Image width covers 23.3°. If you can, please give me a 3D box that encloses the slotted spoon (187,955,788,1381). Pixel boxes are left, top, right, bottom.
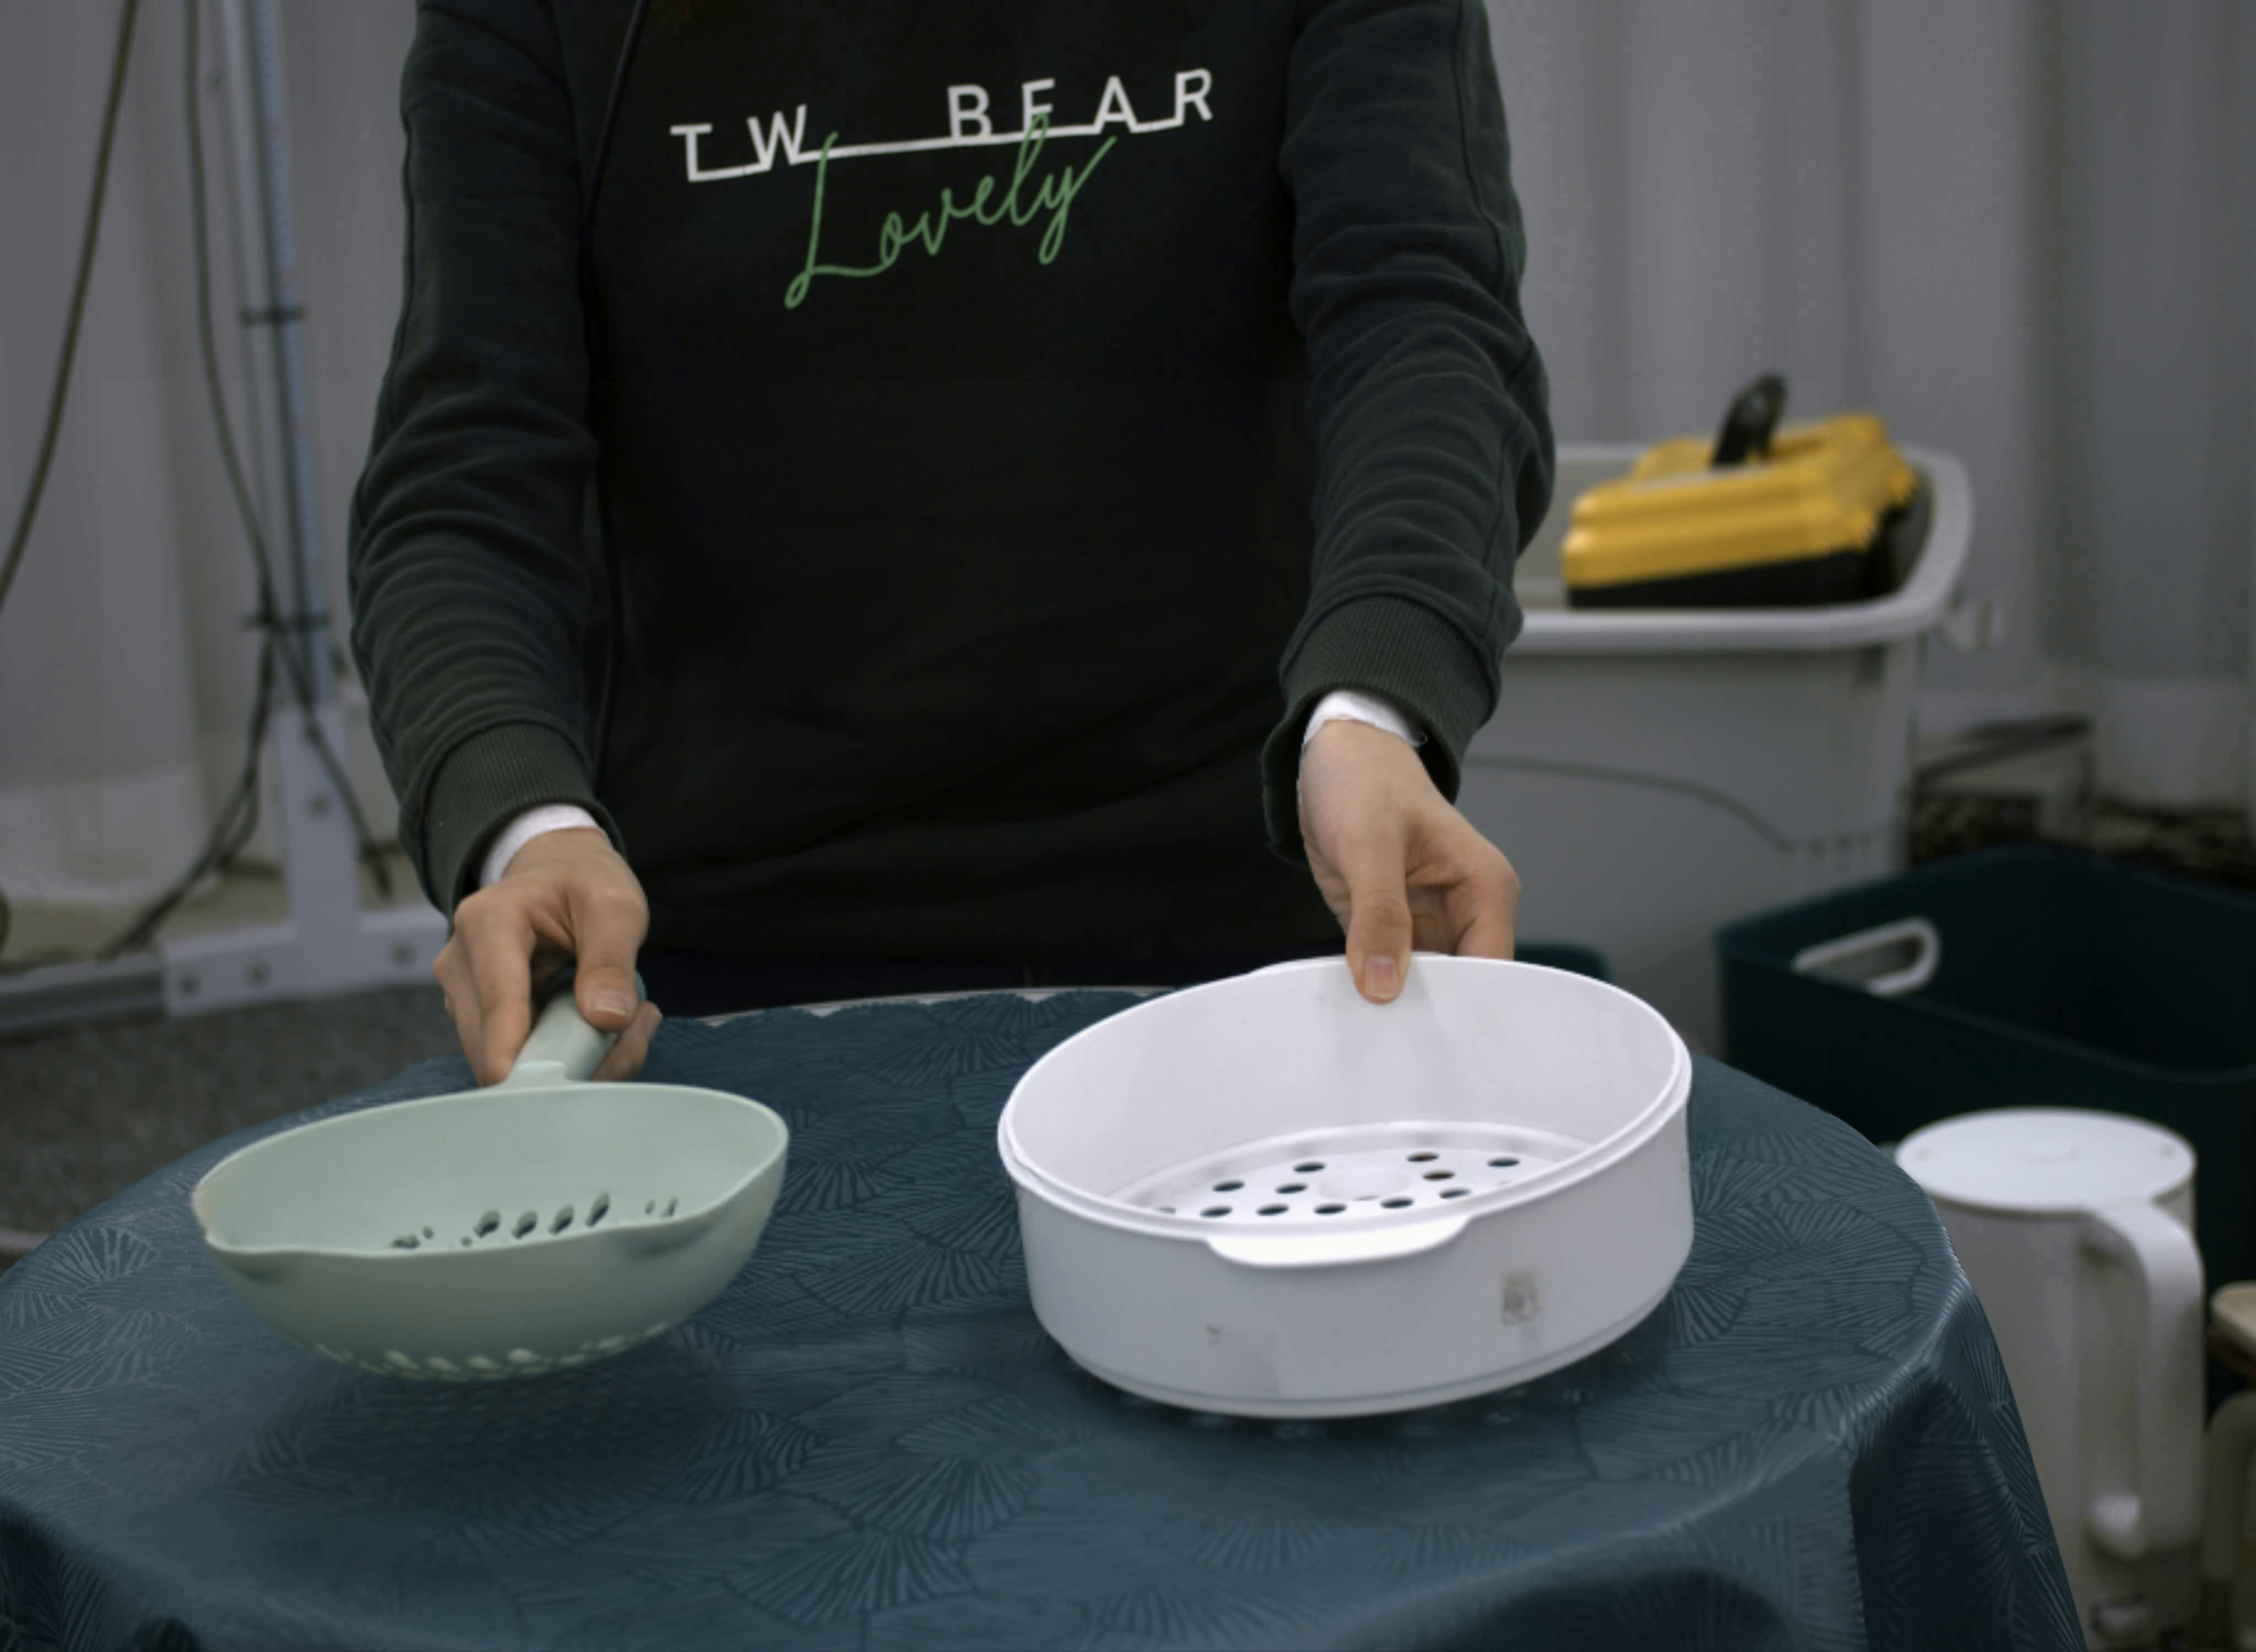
[{"bbox_3d":[-0.175,0.086,1.632,0.169,0.075,0.362,-3,20,2],"label":"slotted spoon"}]

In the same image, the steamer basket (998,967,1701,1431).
[{"bbox_3d":[0.065,0.107,1.571,0.201,0.069,0.232,-4,18,4],"label":"steamer basket"}]
